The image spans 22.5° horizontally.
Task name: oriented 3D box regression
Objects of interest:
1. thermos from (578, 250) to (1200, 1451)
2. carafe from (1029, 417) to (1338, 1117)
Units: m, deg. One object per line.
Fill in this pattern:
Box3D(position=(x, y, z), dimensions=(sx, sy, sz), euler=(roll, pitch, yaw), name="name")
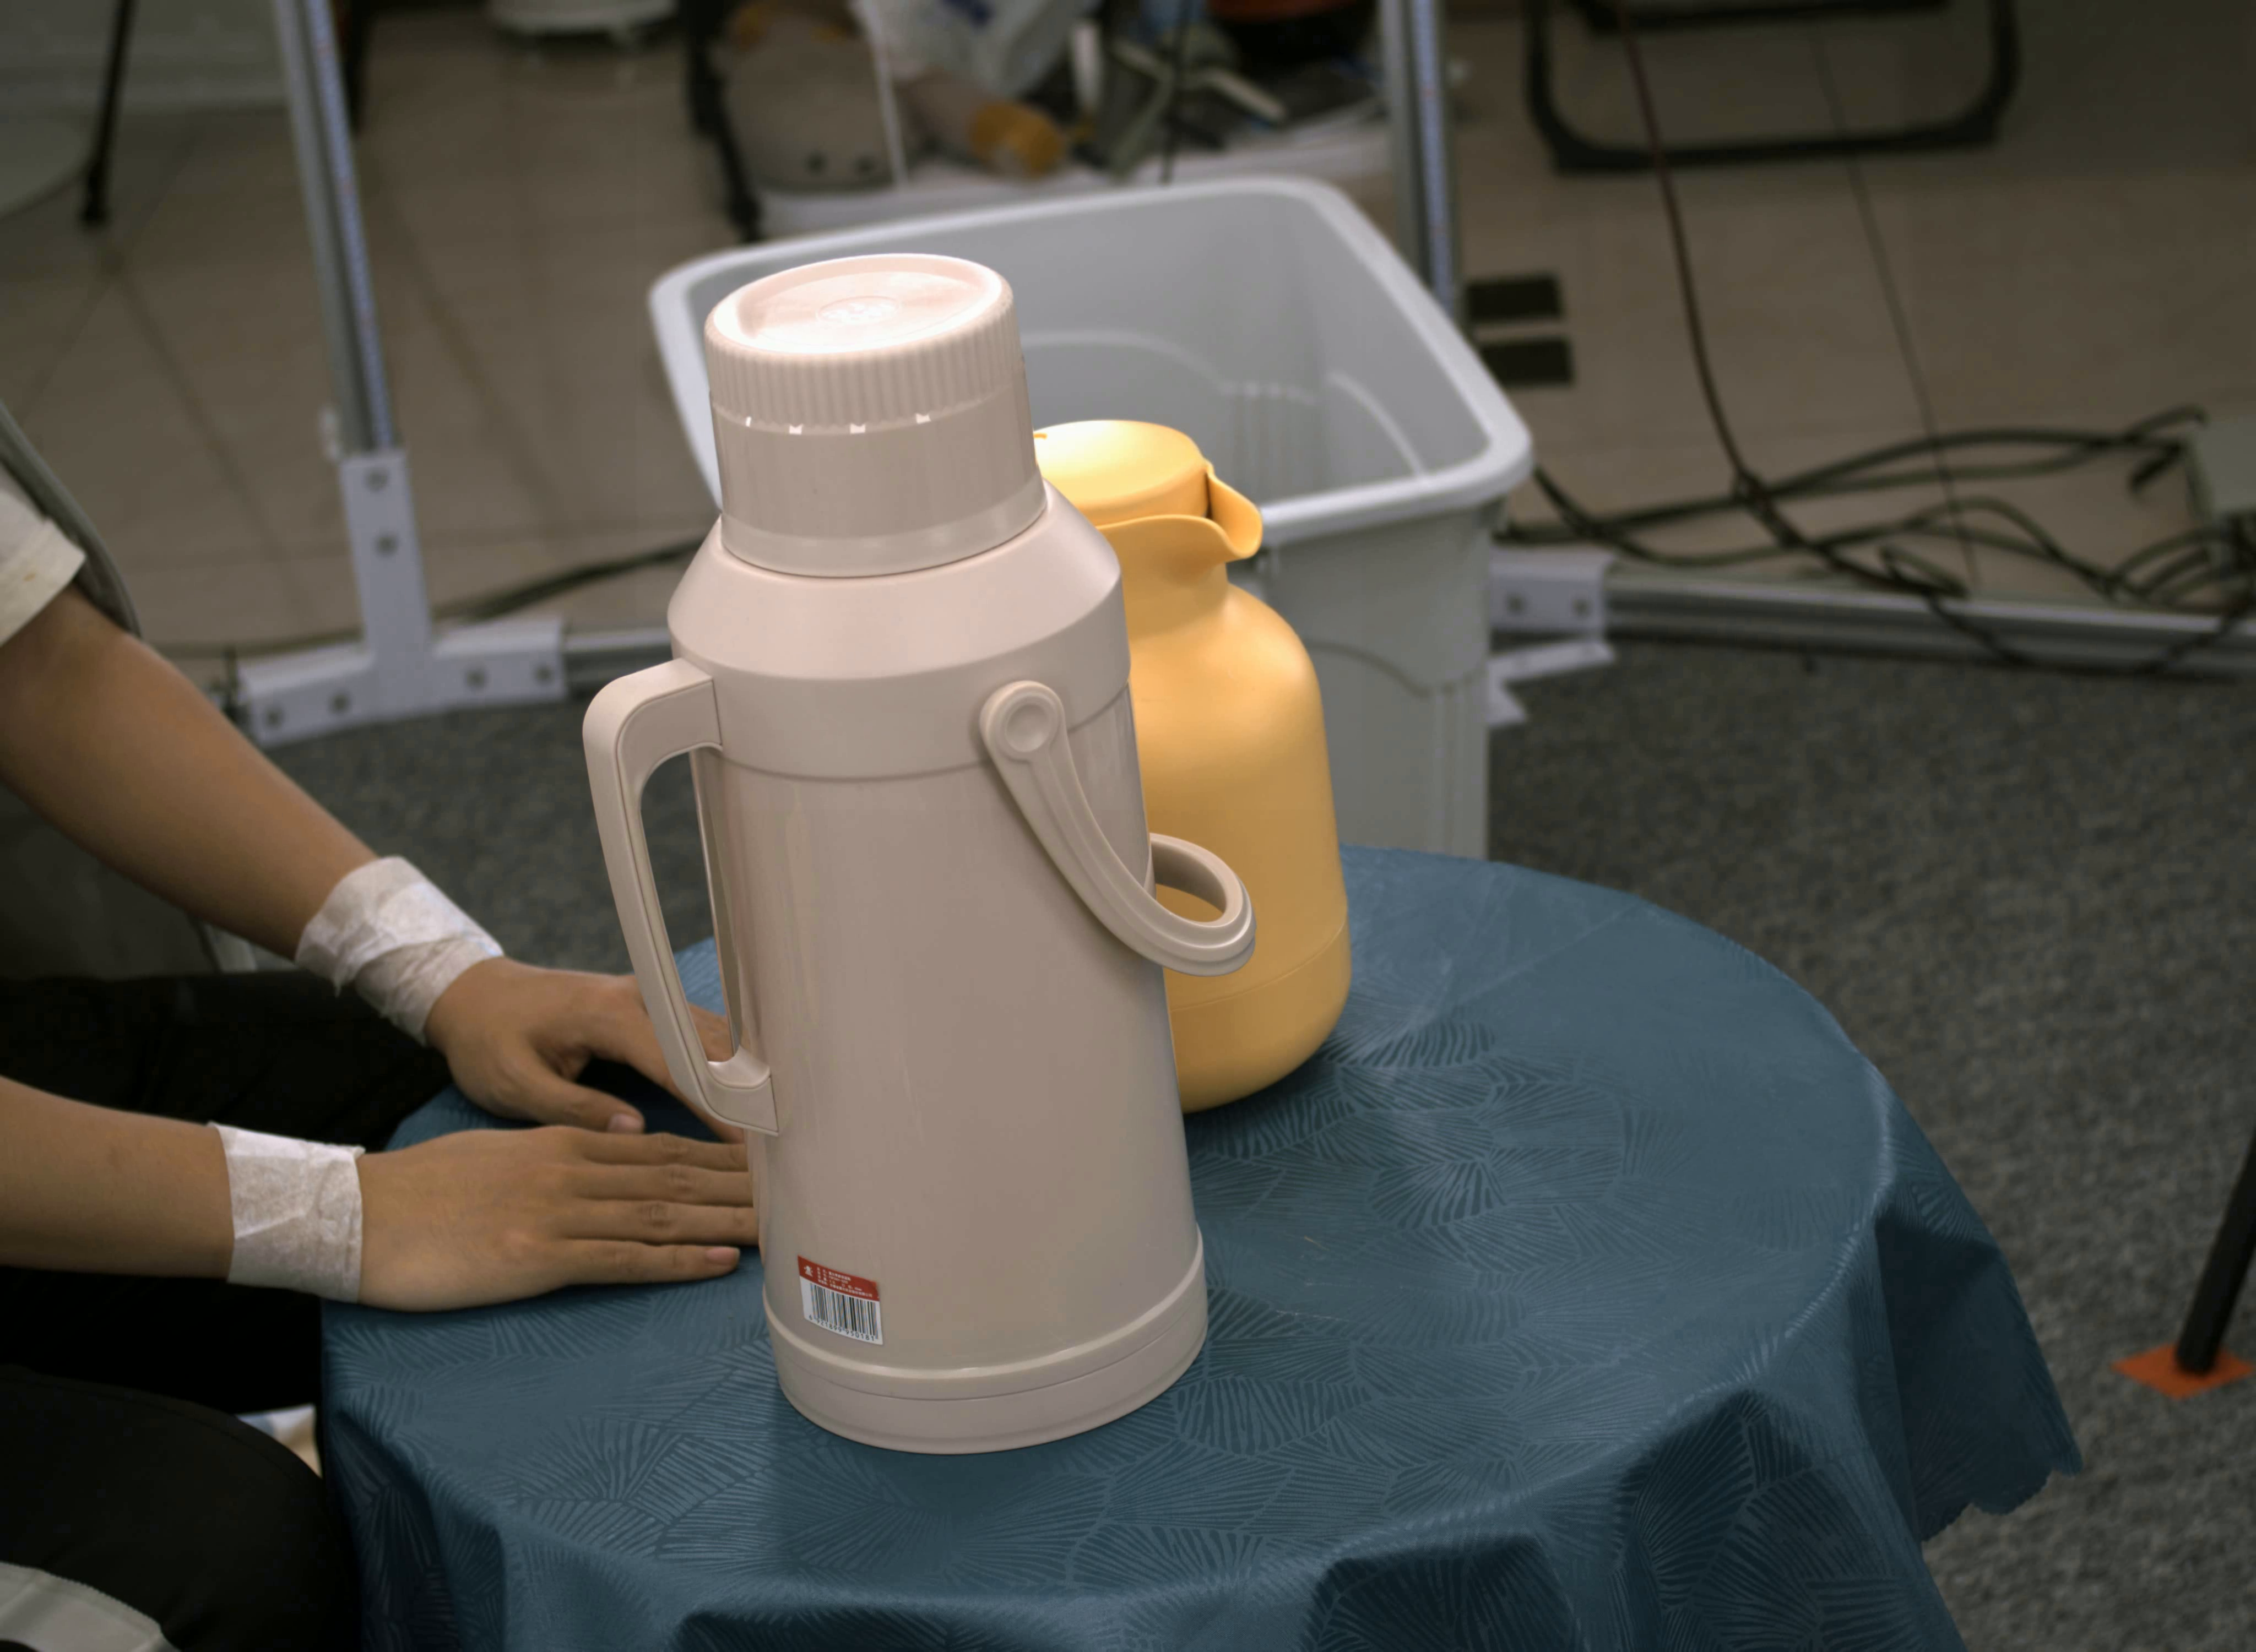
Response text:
Box3D(position=(-0.084, 0.011, 1.968), dimensions=(0.206, 0.413, 0.173), euler=(-19, 29, -25), name="thermos")
Box3D(position=(-0.019, -0.031, 2.206), dimensions=(0.201, 0.264, 0.162), euler=(15, 31, 35), name="carafe")
